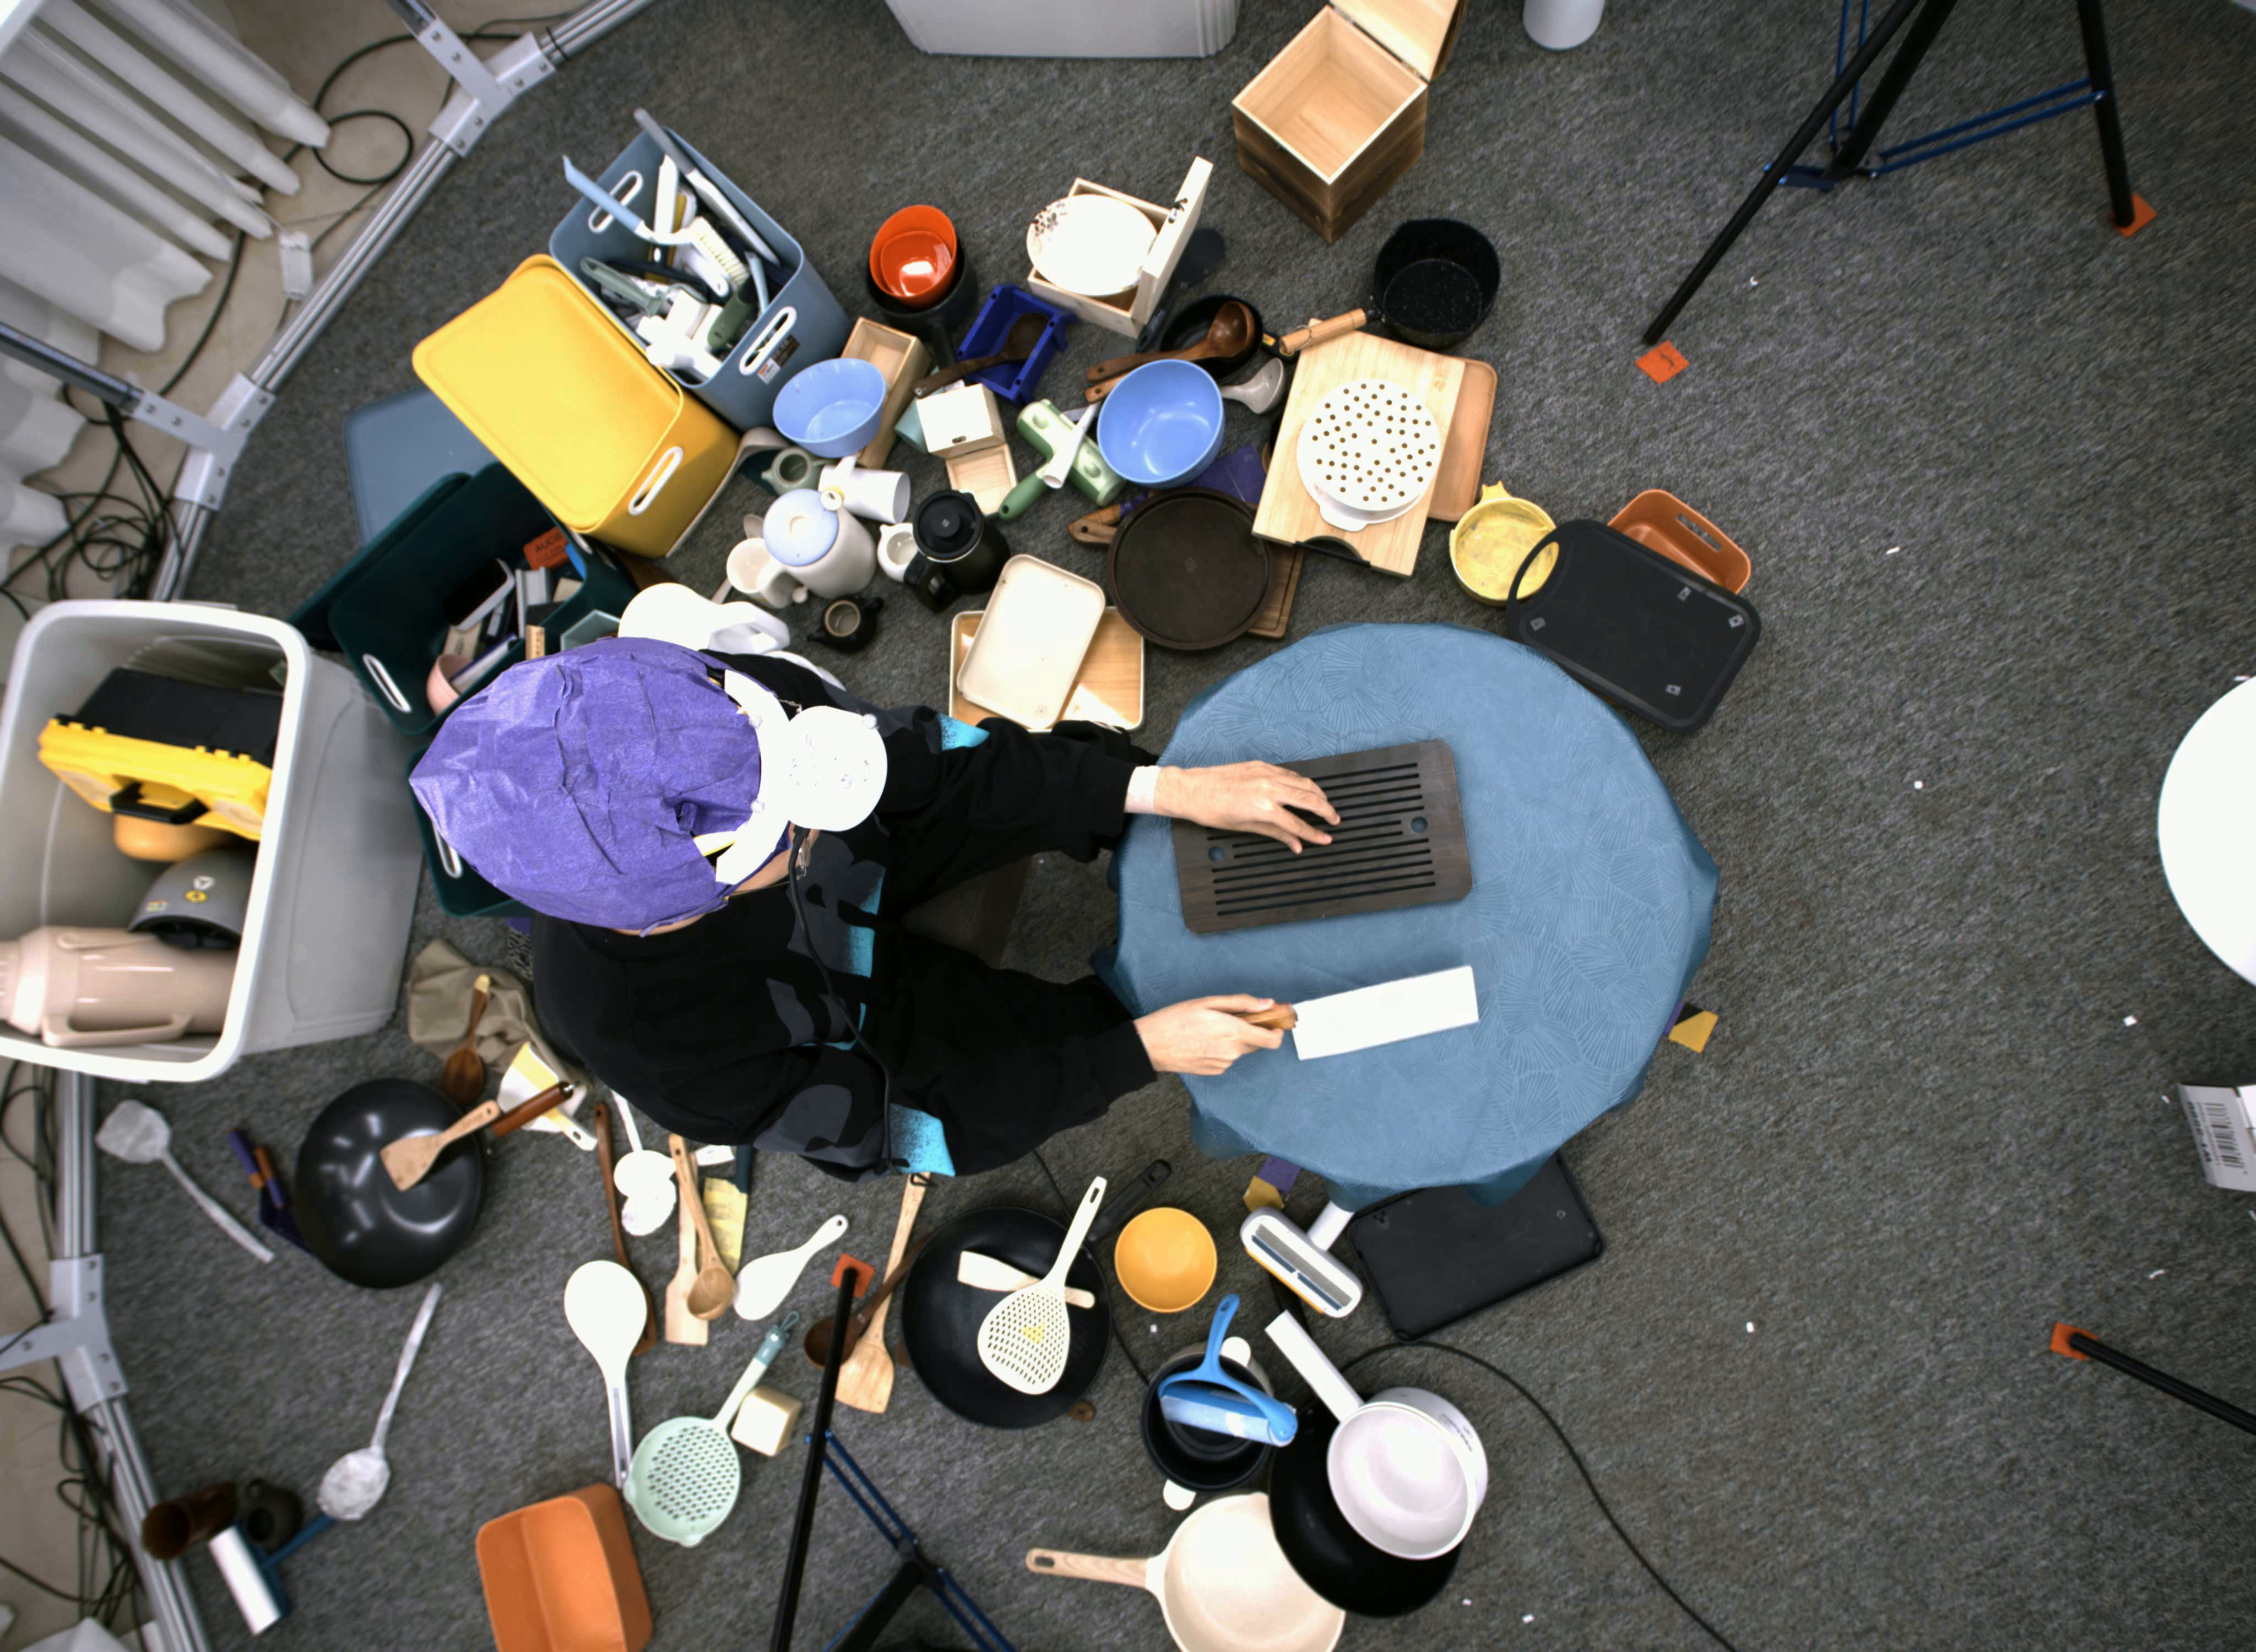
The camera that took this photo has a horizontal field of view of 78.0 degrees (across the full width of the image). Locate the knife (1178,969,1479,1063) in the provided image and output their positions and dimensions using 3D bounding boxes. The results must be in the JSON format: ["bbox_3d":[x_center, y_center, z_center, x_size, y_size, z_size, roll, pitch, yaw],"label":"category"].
[{"bbox_3d":[0.208,0.206,1.424,0.307,0.095,0.020,-13,40,9],"label":"knife"}]

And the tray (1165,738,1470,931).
[{"bbox_3d":[0.198,0.009,1.467,0.307,0.018,0.169,-8,86,10],"label":"tray"}]
